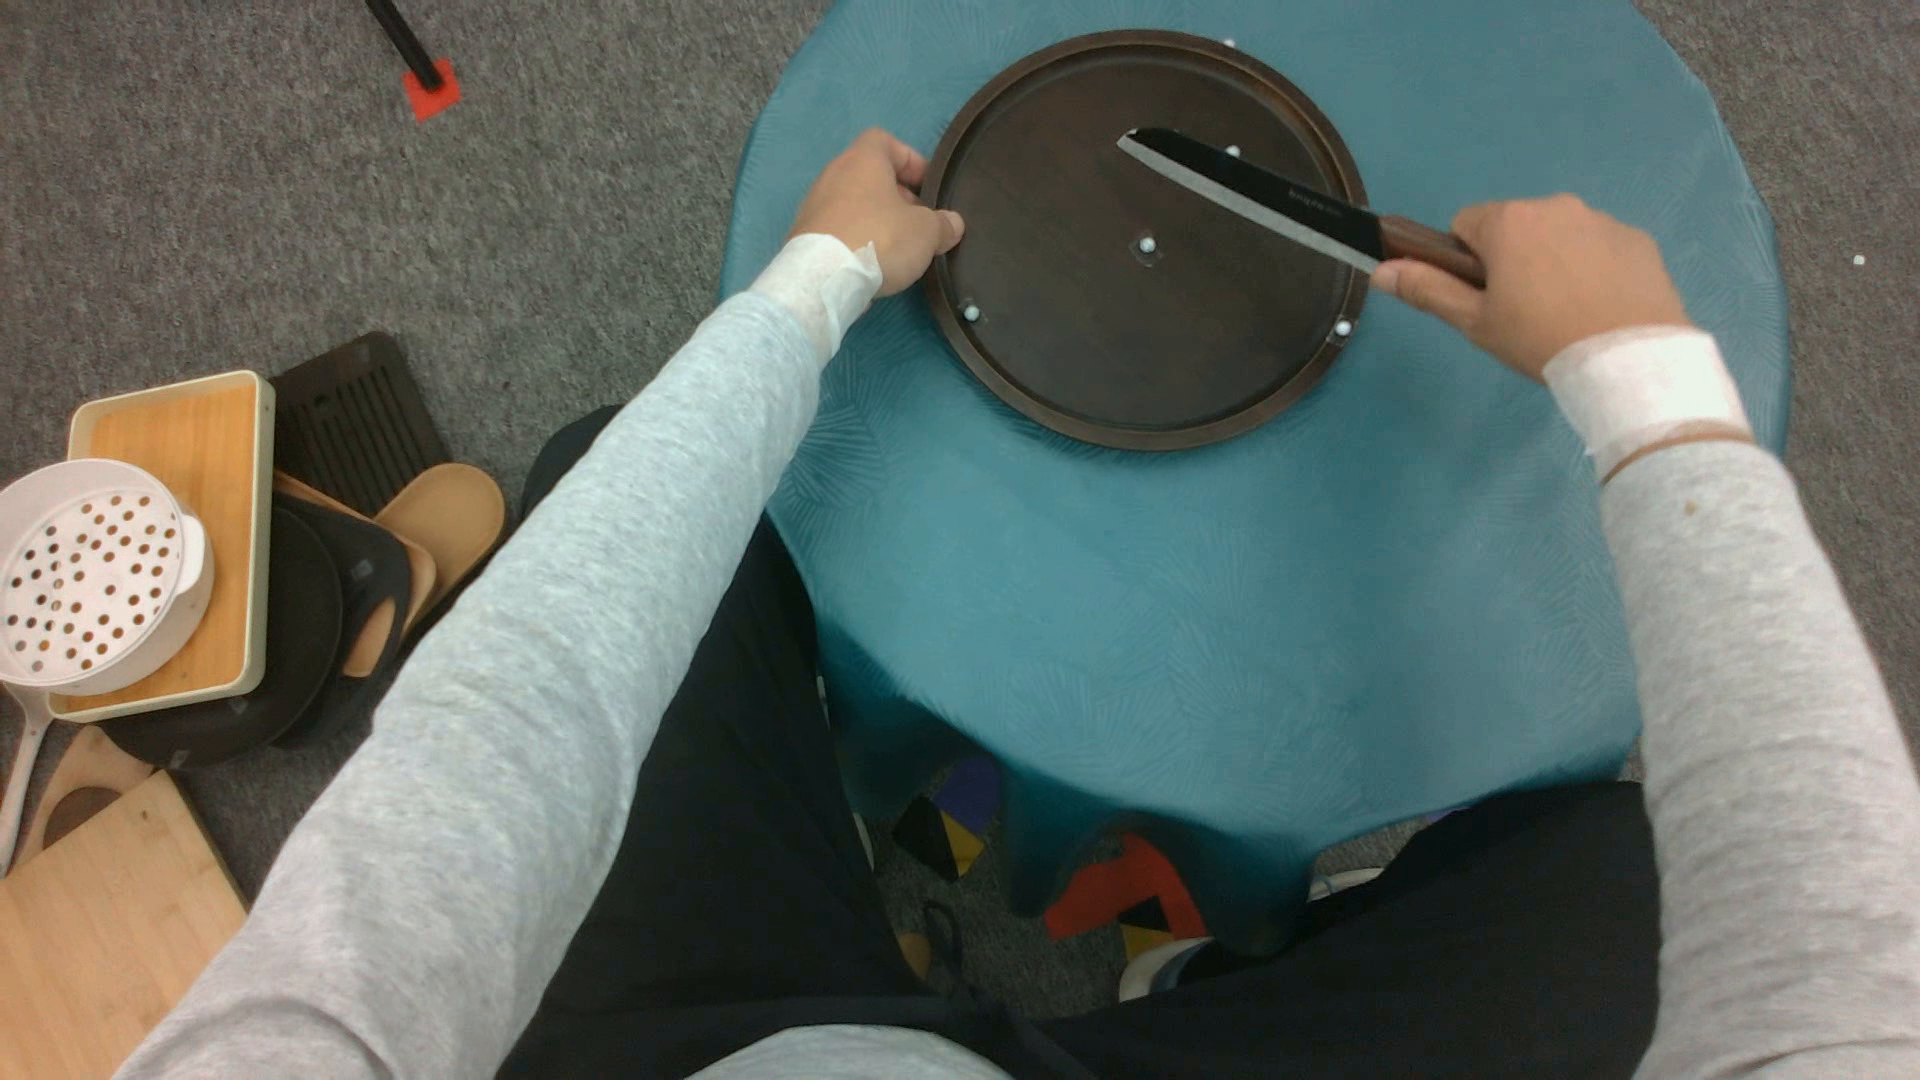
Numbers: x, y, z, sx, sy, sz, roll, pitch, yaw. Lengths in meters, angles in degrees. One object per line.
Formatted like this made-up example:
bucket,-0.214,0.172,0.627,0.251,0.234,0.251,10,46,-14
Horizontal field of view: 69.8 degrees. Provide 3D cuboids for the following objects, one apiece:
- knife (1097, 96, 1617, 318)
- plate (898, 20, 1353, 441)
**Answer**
knife,0.184,-0.172,0.691,0.289,0.050,0.020,30,69,29
plate,0.092,-0.175,0.769,0.255,0.029,0.255,1,77,-3
